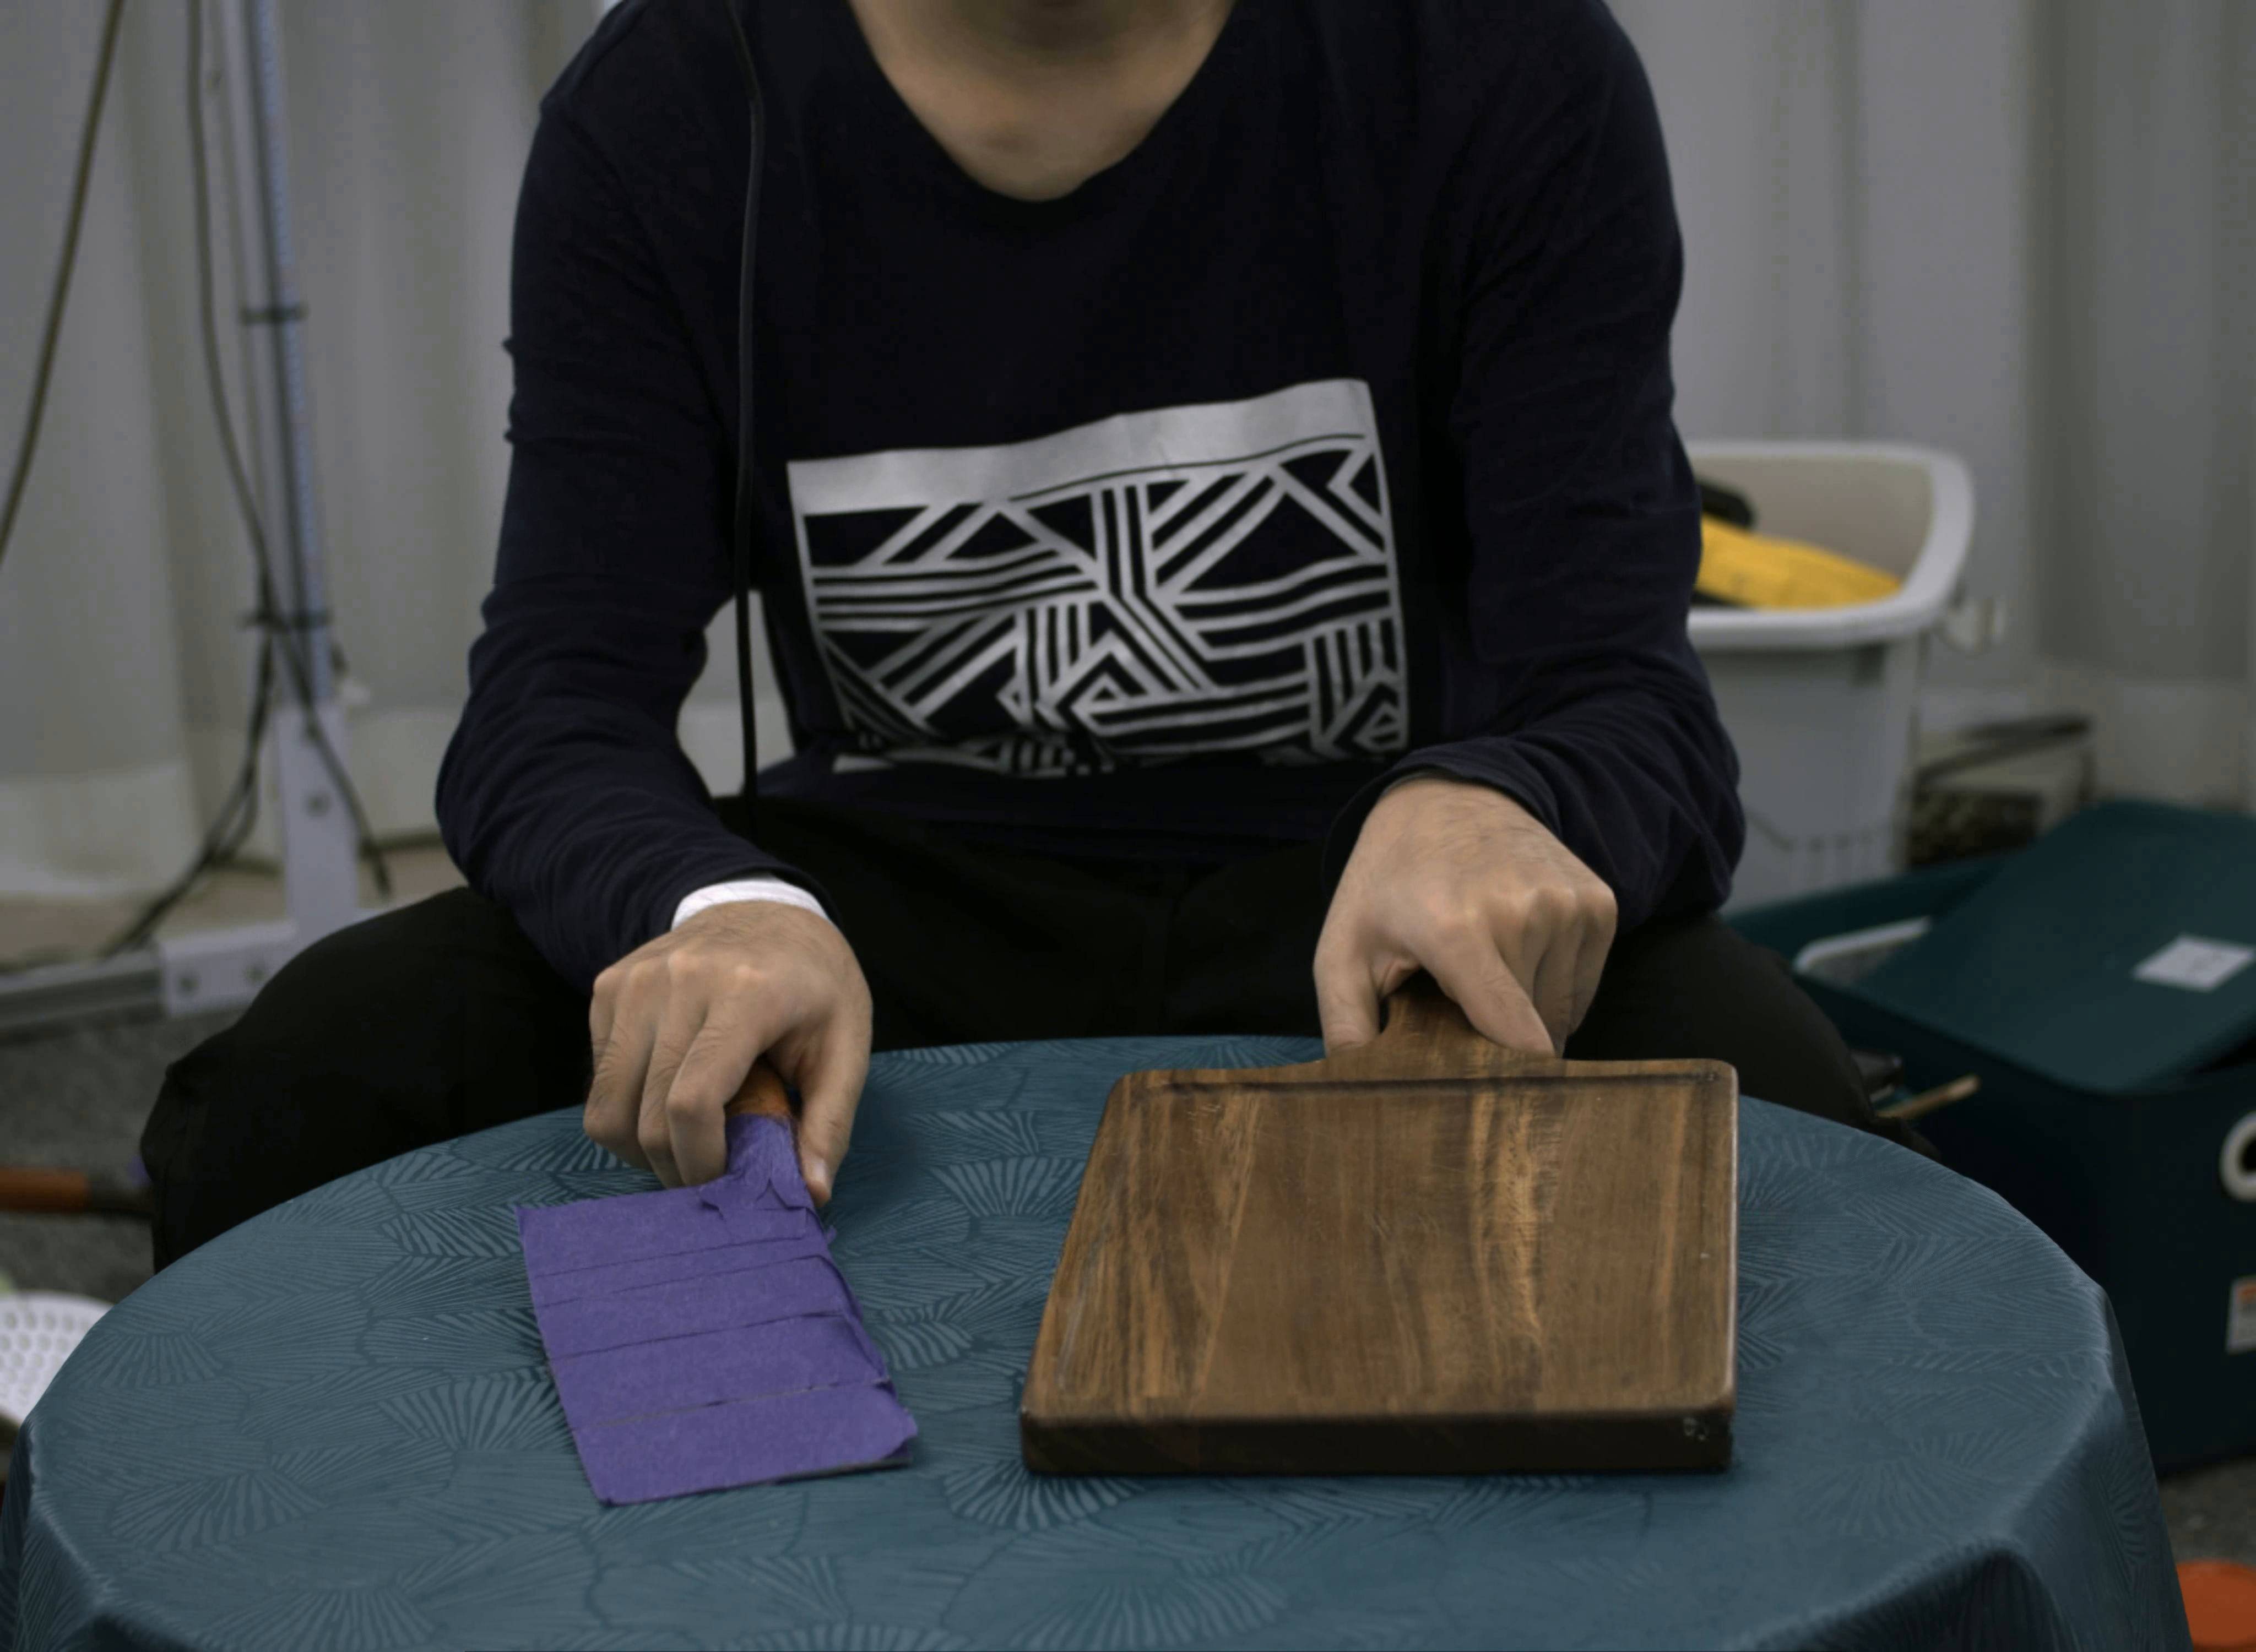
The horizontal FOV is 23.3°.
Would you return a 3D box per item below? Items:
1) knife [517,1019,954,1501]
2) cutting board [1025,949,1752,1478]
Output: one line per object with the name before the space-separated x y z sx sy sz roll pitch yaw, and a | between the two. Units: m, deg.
knife | -0.132 0.125 1.629 0.103 0.032 0.318 -7 18 -11
cutting board | 0.086 0.108 1.633 0.200 0.023 0.355 -2 19 7
